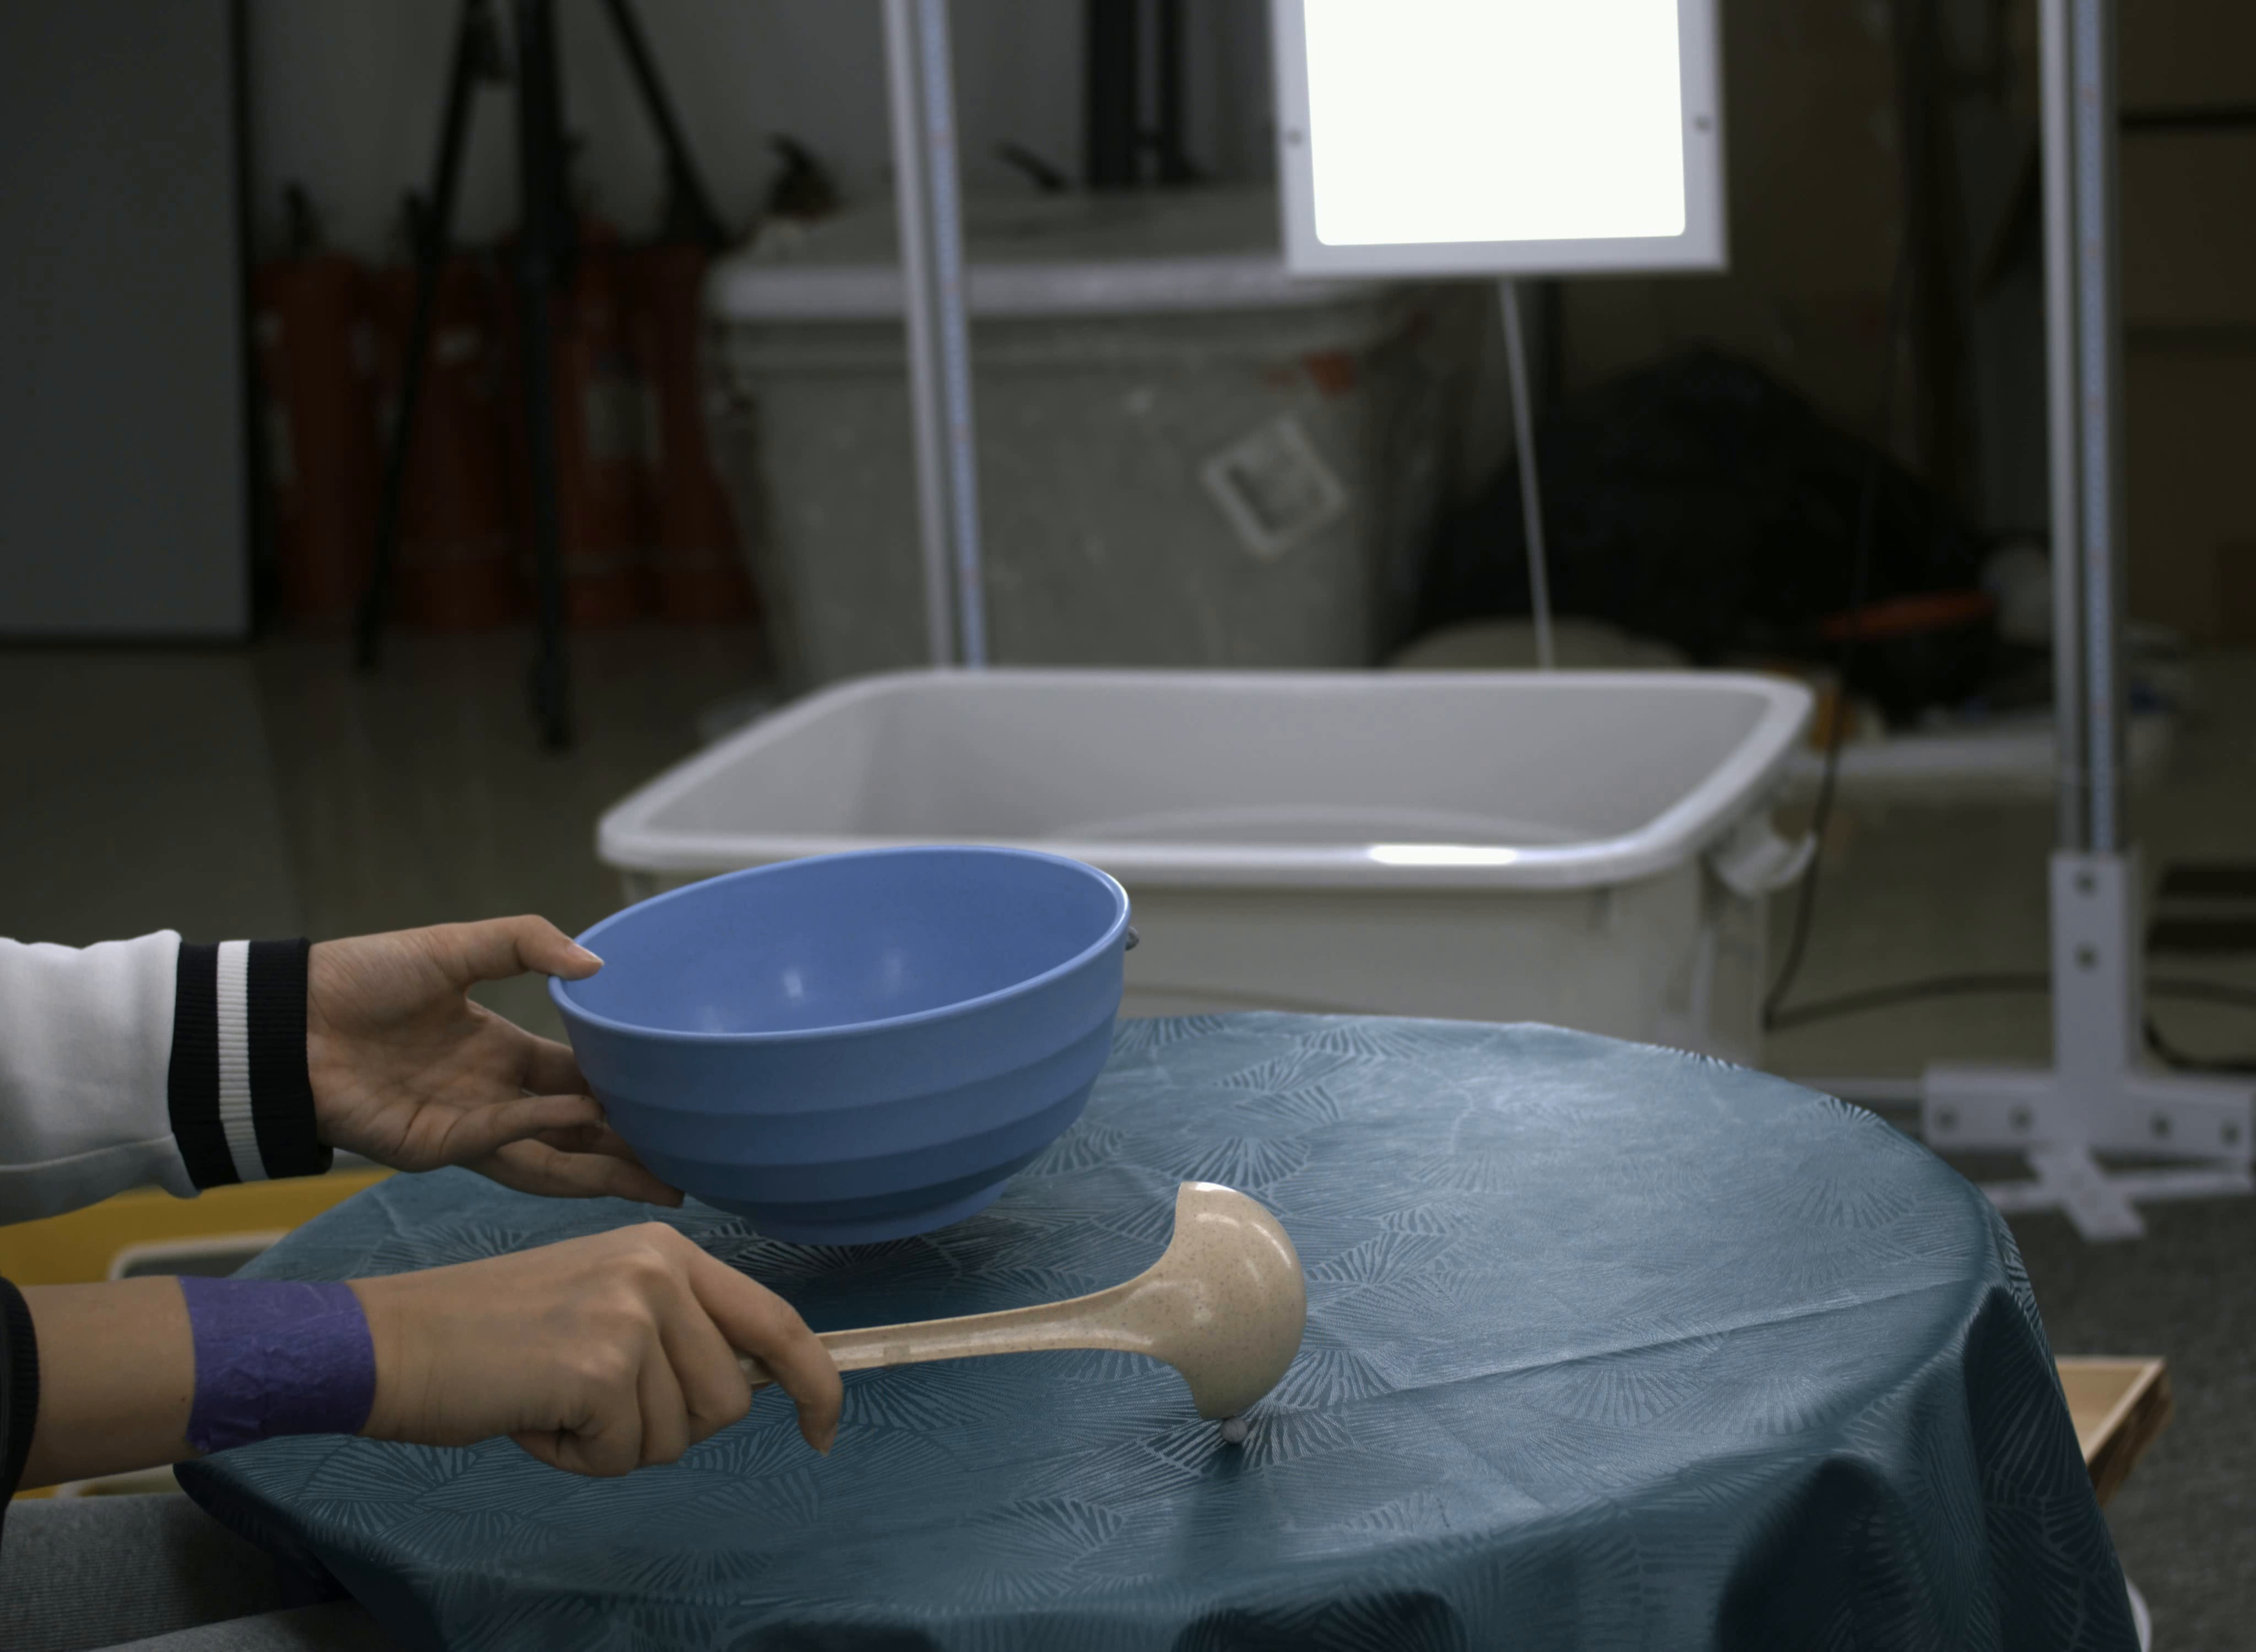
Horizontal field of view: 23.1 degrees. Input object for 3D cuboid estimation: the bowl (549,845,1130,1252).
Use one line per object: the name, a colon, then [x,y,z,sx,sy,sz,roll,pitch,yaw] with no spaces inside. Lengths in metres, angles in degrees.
bowl: [-0.092,0.082,1.856,0.196,0.096,0.196,-7,18,1]

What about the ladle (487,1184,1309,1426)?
ladle: [-0.071,0.150,1.627,0.250,0.072,0.074,-4,-5,-15]
